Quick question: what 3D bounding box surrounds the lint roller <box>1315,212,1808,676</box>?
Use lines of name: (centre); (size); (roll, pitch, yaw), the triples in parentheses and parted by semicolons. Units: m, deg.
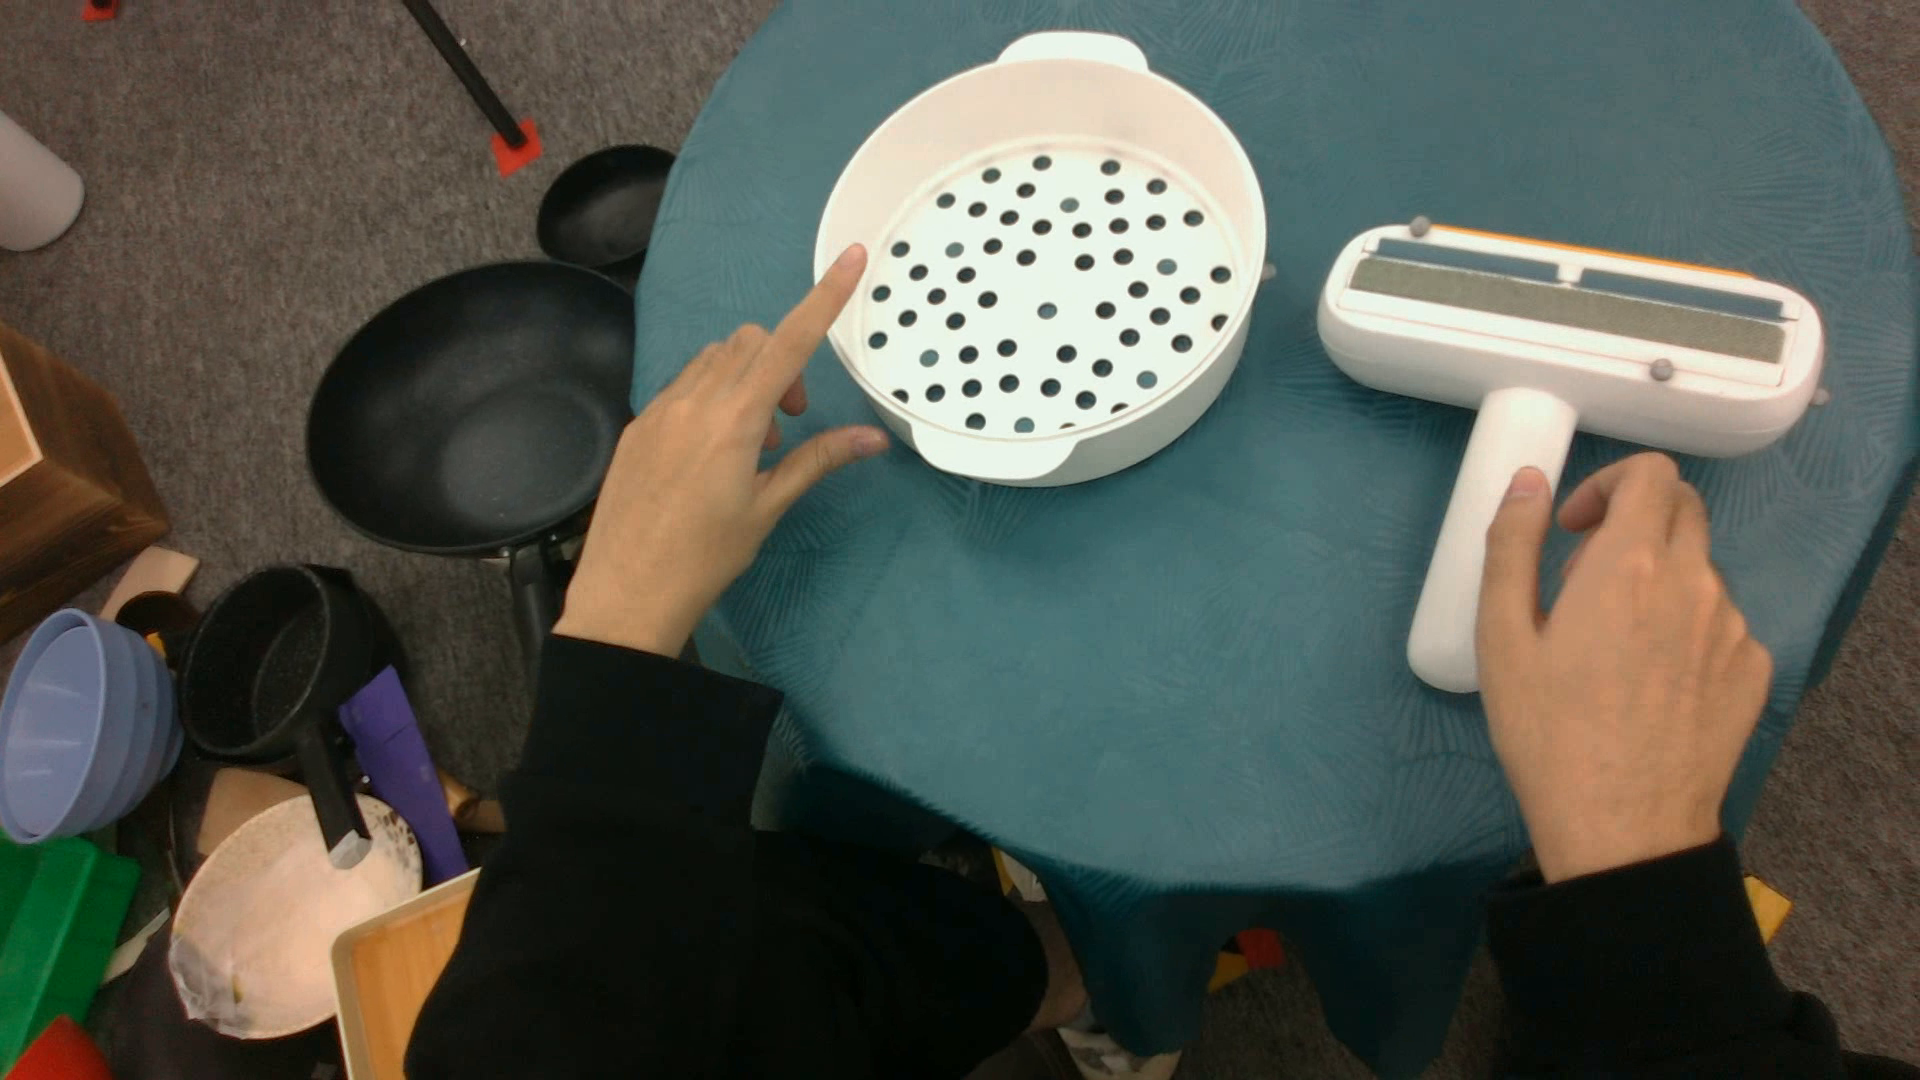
lint roller: (0.222, -0.037, 0.571); (0.193, 0.074, 0.193); (21, 75, 22)

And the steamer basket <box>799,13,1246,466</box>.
steamer basket: (0.030, -0.132, 0.642); (0.202, 0.069, 0.231); (7, 72, 13)
